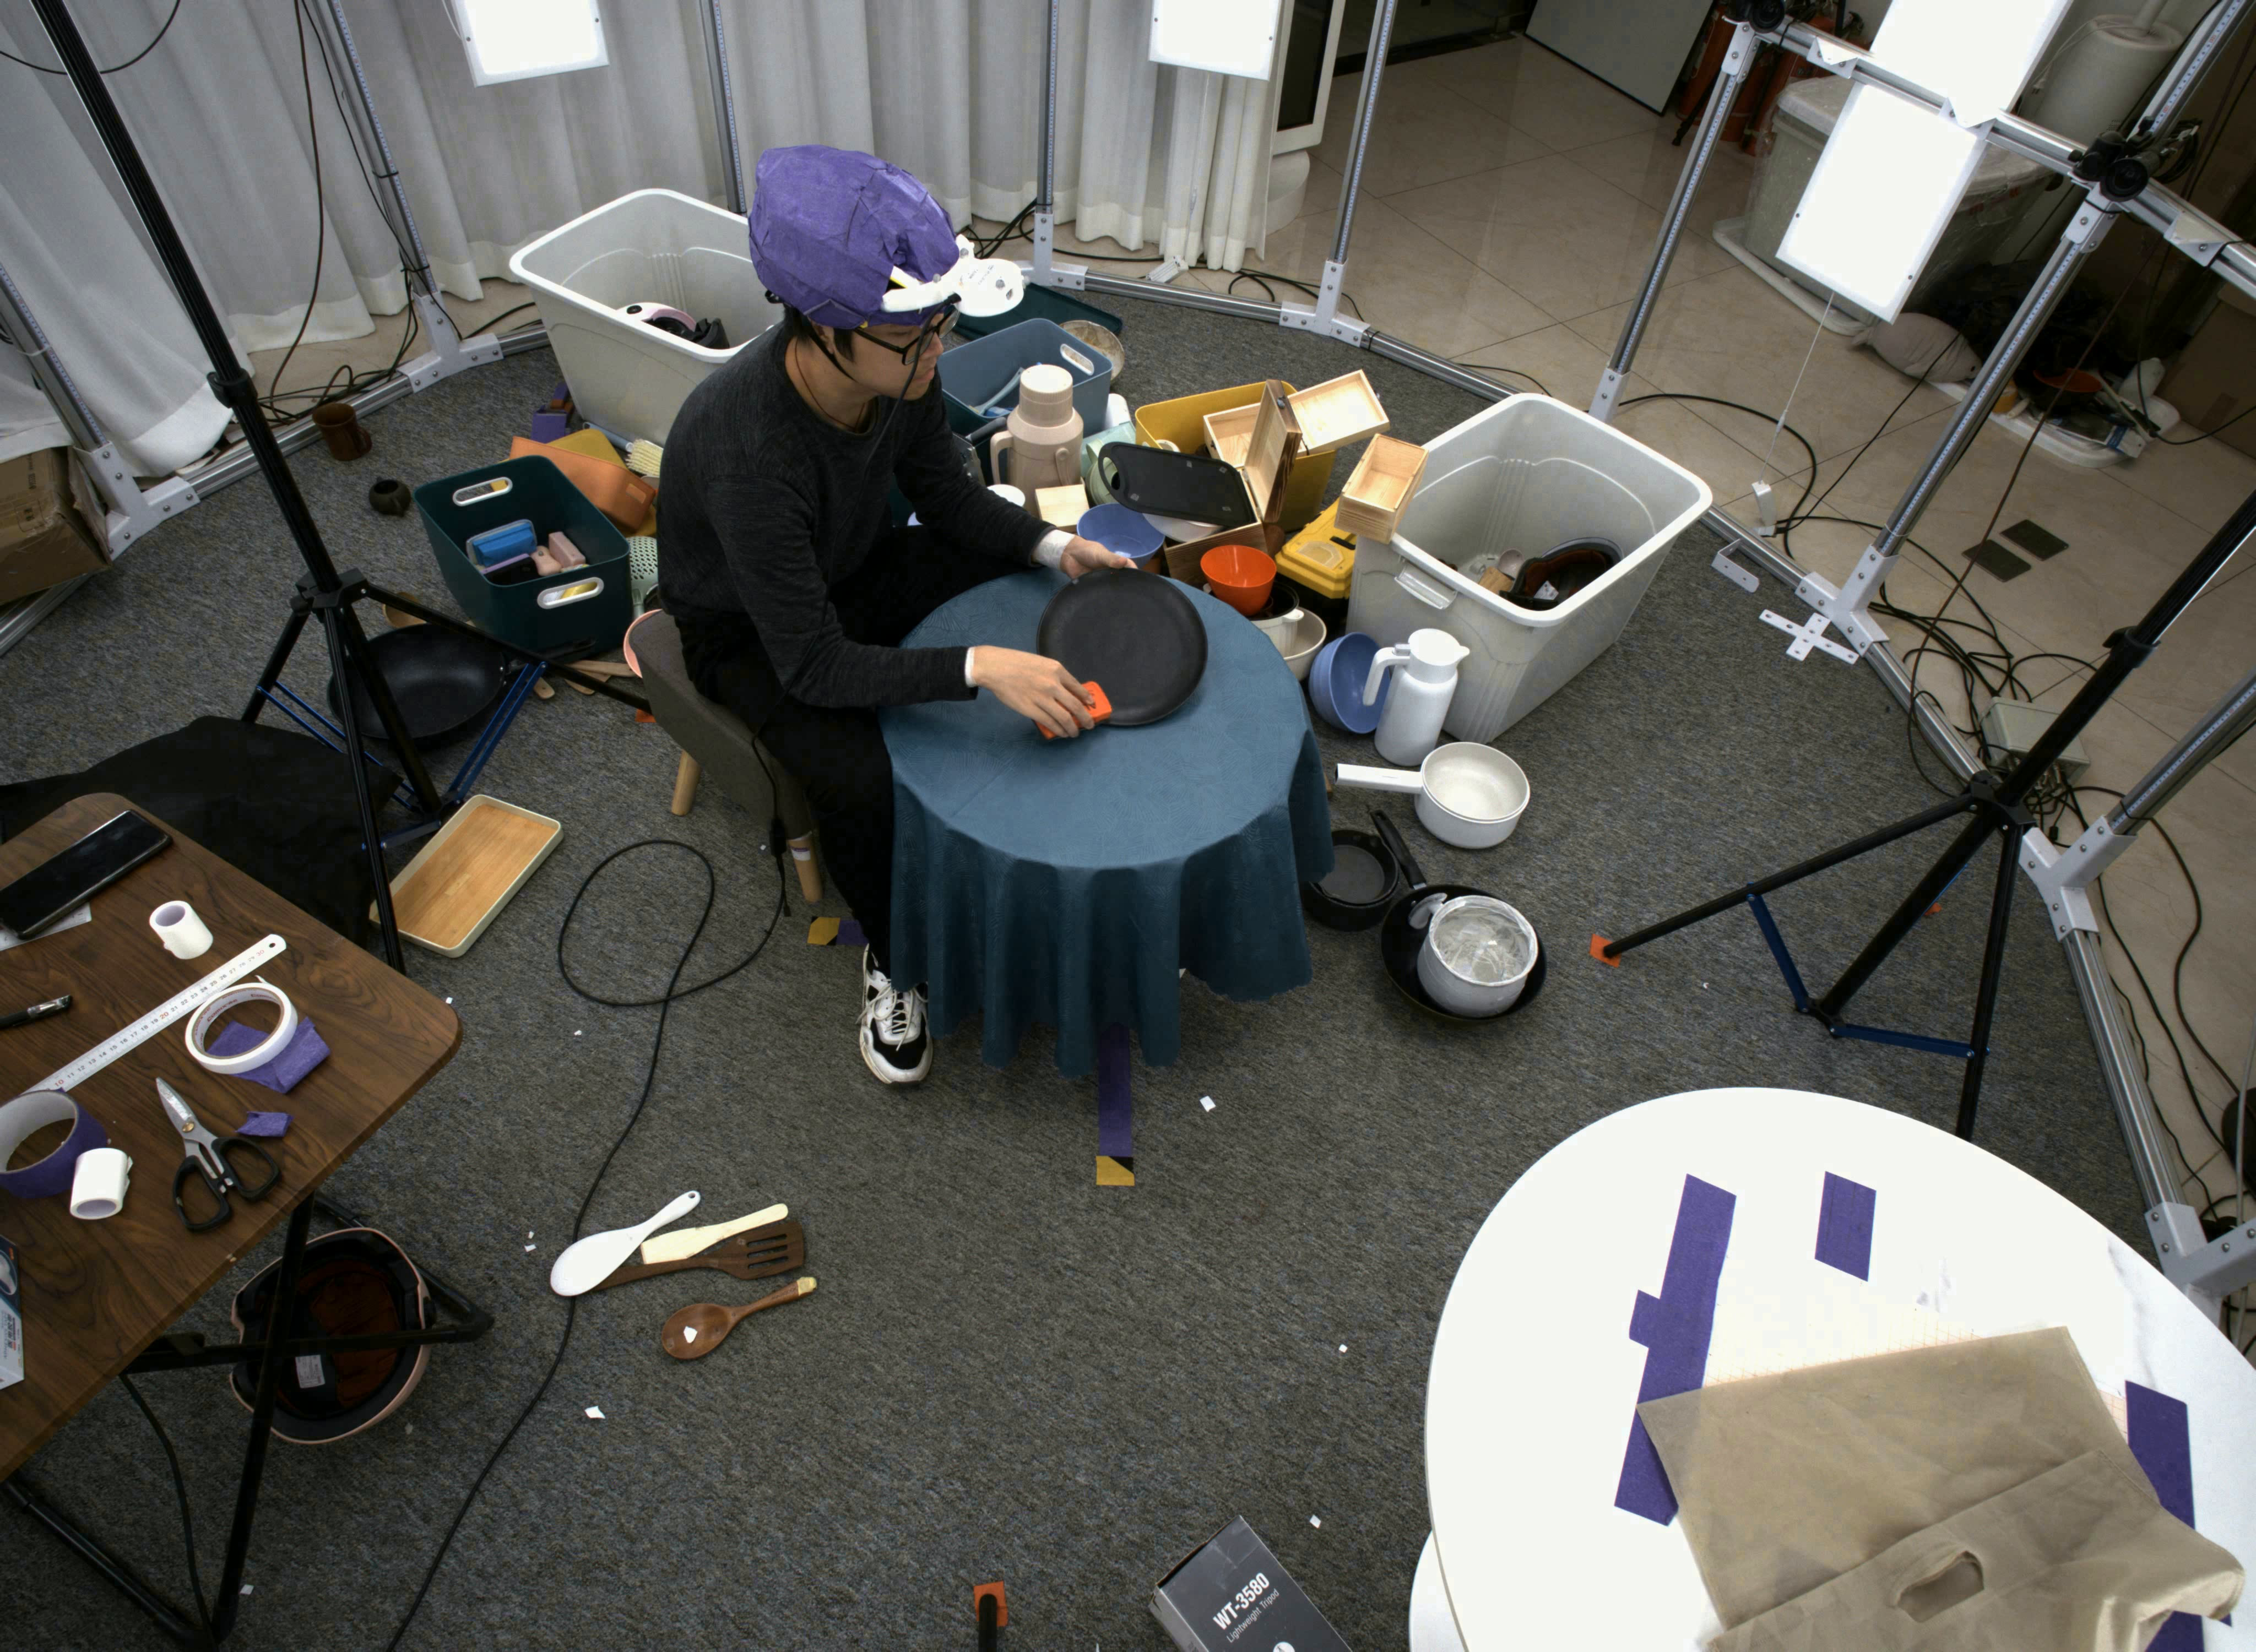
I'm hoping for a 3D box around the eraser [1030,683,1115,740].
[{"bbox_3d":[-0.076,-0.159,1.768,0.108,0.022,0.060,-20,62,-24],"label":"eraser"}]

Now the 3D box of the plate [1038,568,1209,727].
[{"bbox_3d":[-0.007,-0.254,1.830,0.244,0.023,0.248,1,72,-4],"label":"plate"}]
